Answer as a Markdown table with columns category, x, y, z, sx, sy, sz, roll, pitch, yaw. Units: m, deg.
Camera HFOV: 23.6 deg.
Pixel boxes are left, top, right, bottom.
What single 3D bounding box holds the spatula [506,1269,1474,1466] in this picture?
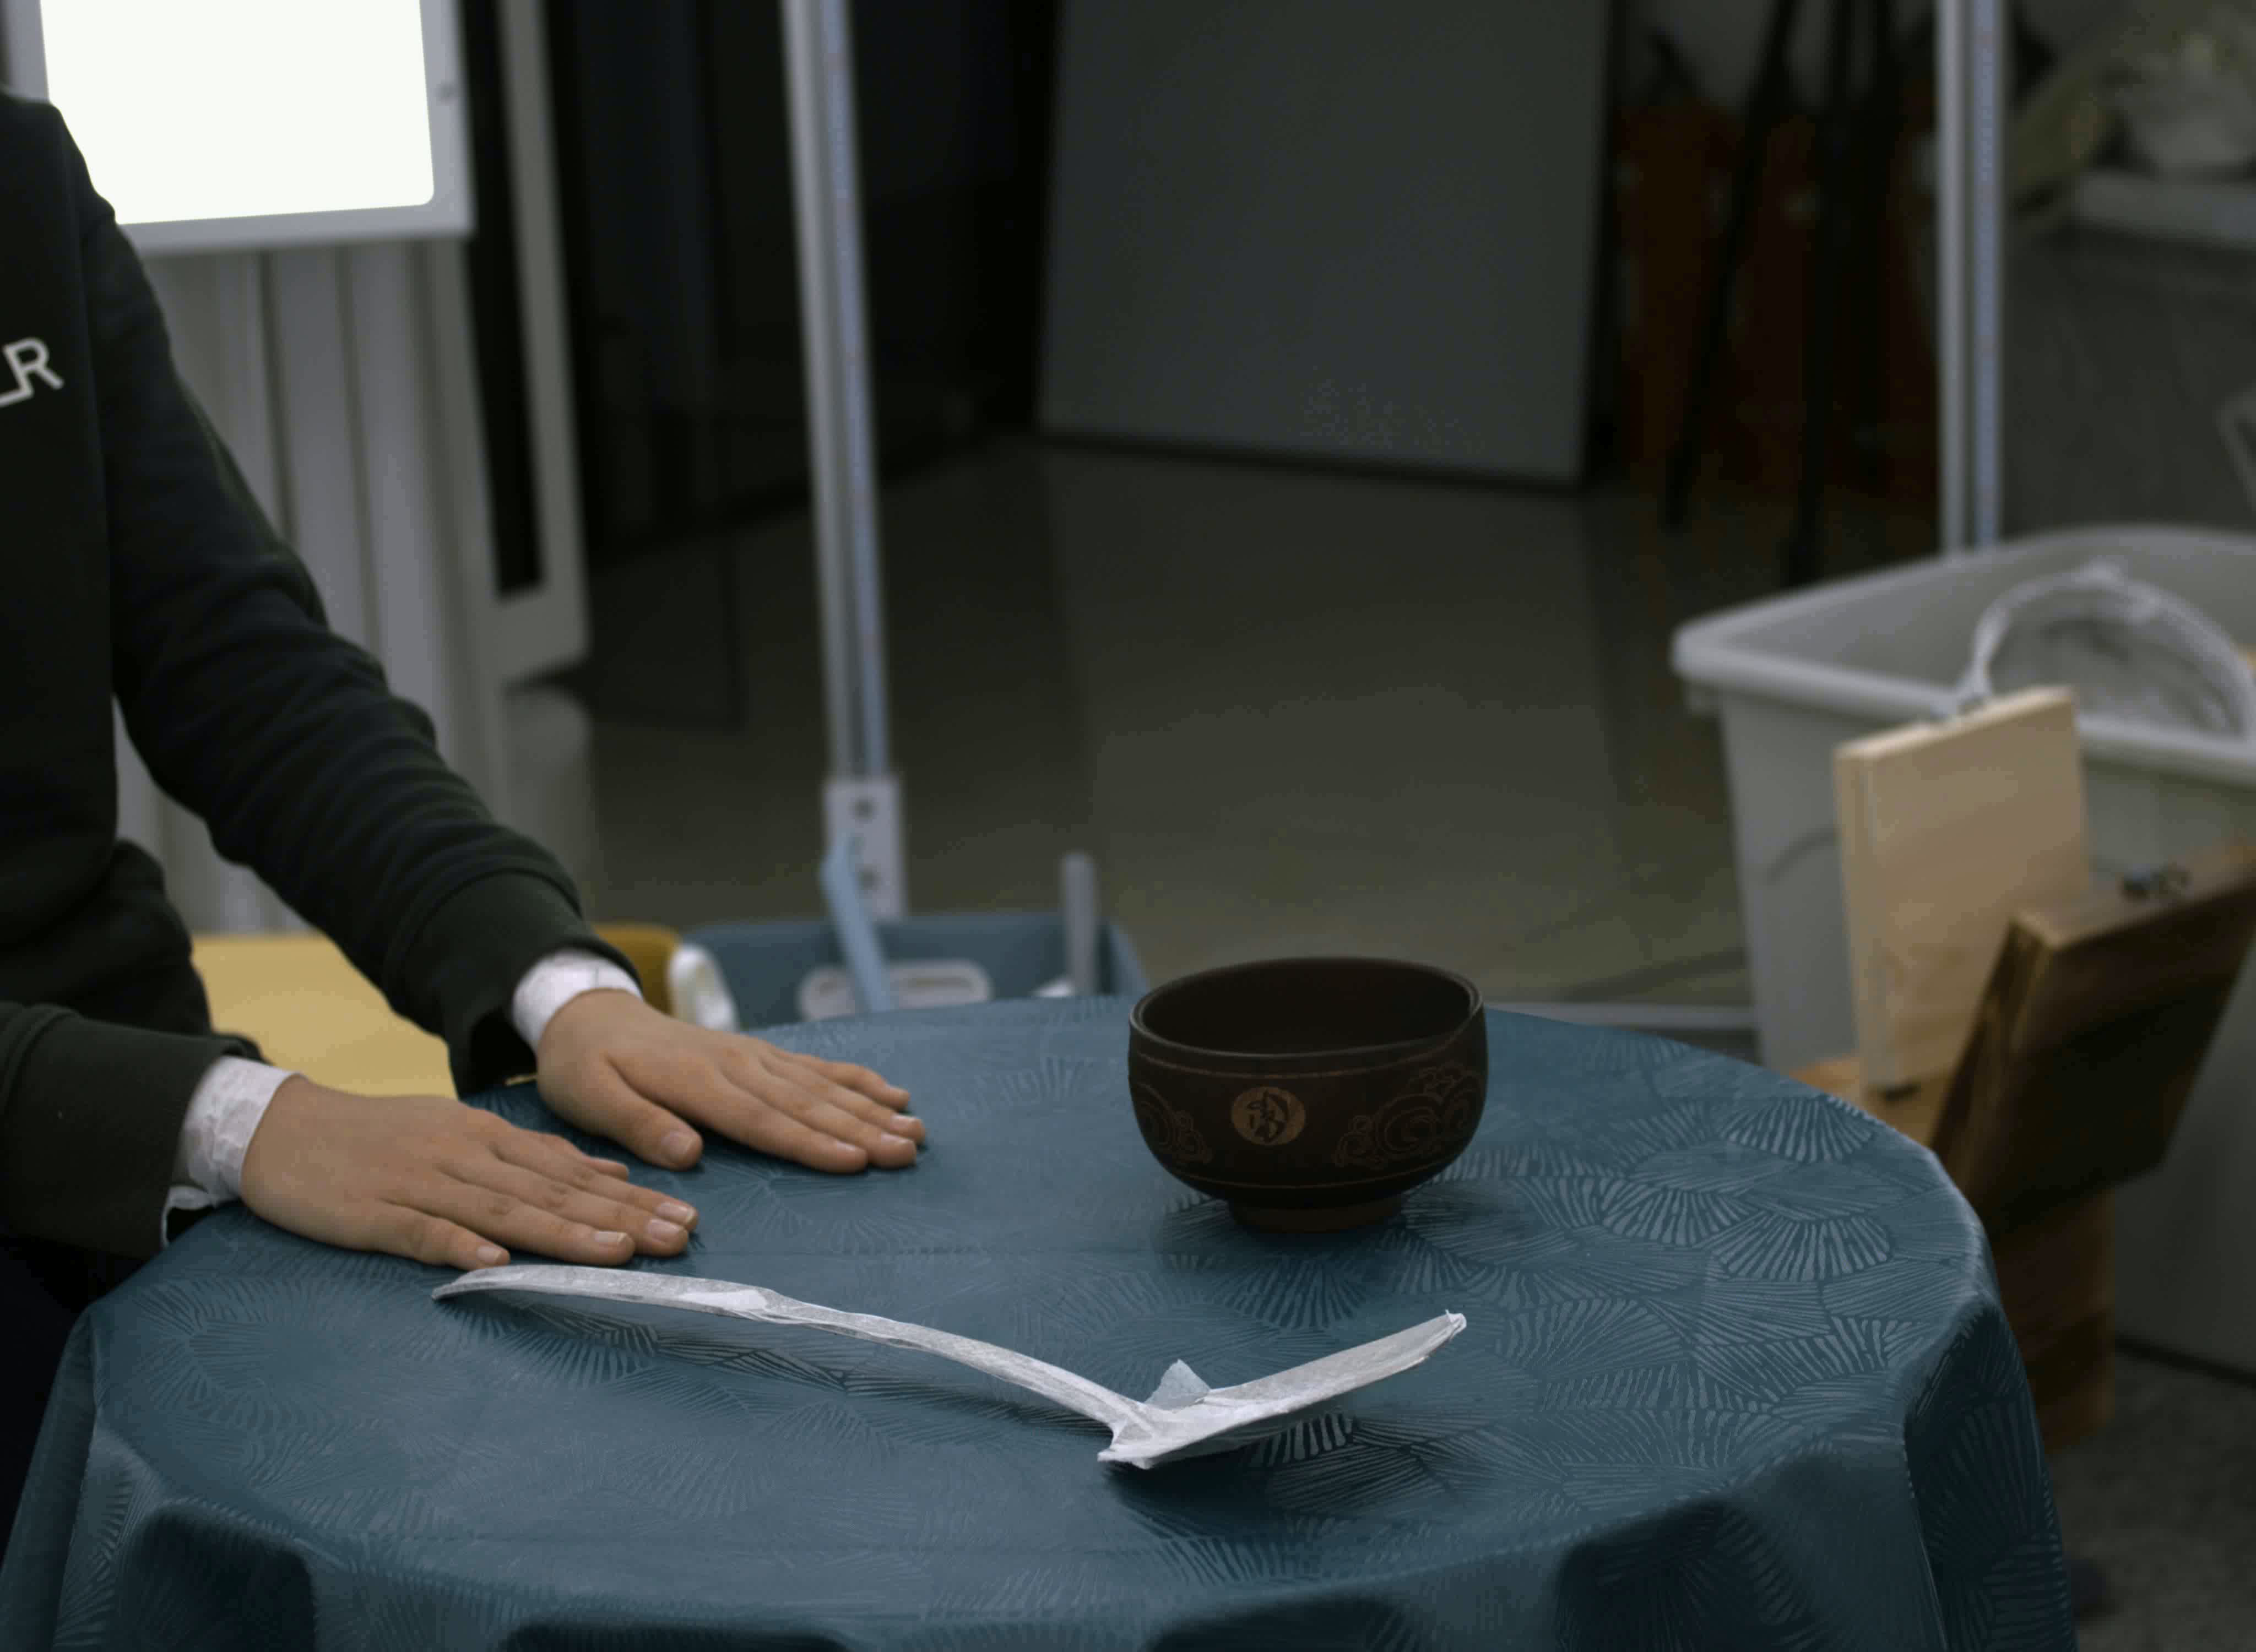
| category | x | y | z | sx | sy | sz | roll | pitch | yaw |
| --- | --- | --- | --- | --- | --- | --- | --- | --- | --- |
| spatula | -0.061 | 0.148 | 1.600 | 0.367 | 0.045 | 0.097 | 7 | 20 | 38 |

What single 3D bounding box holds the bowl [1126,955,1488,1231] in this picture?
| category | x | y | z | sx | sy | sz | roll | pitch | yaw |
| --- | --- | --- | --- | --- | --- | --- | --- | --- | --- |
| bowl | 0.059 | 0.089 | 1.734 | 0.116 | 0.070 | 0.118 | -4 | 12 | 0 |
